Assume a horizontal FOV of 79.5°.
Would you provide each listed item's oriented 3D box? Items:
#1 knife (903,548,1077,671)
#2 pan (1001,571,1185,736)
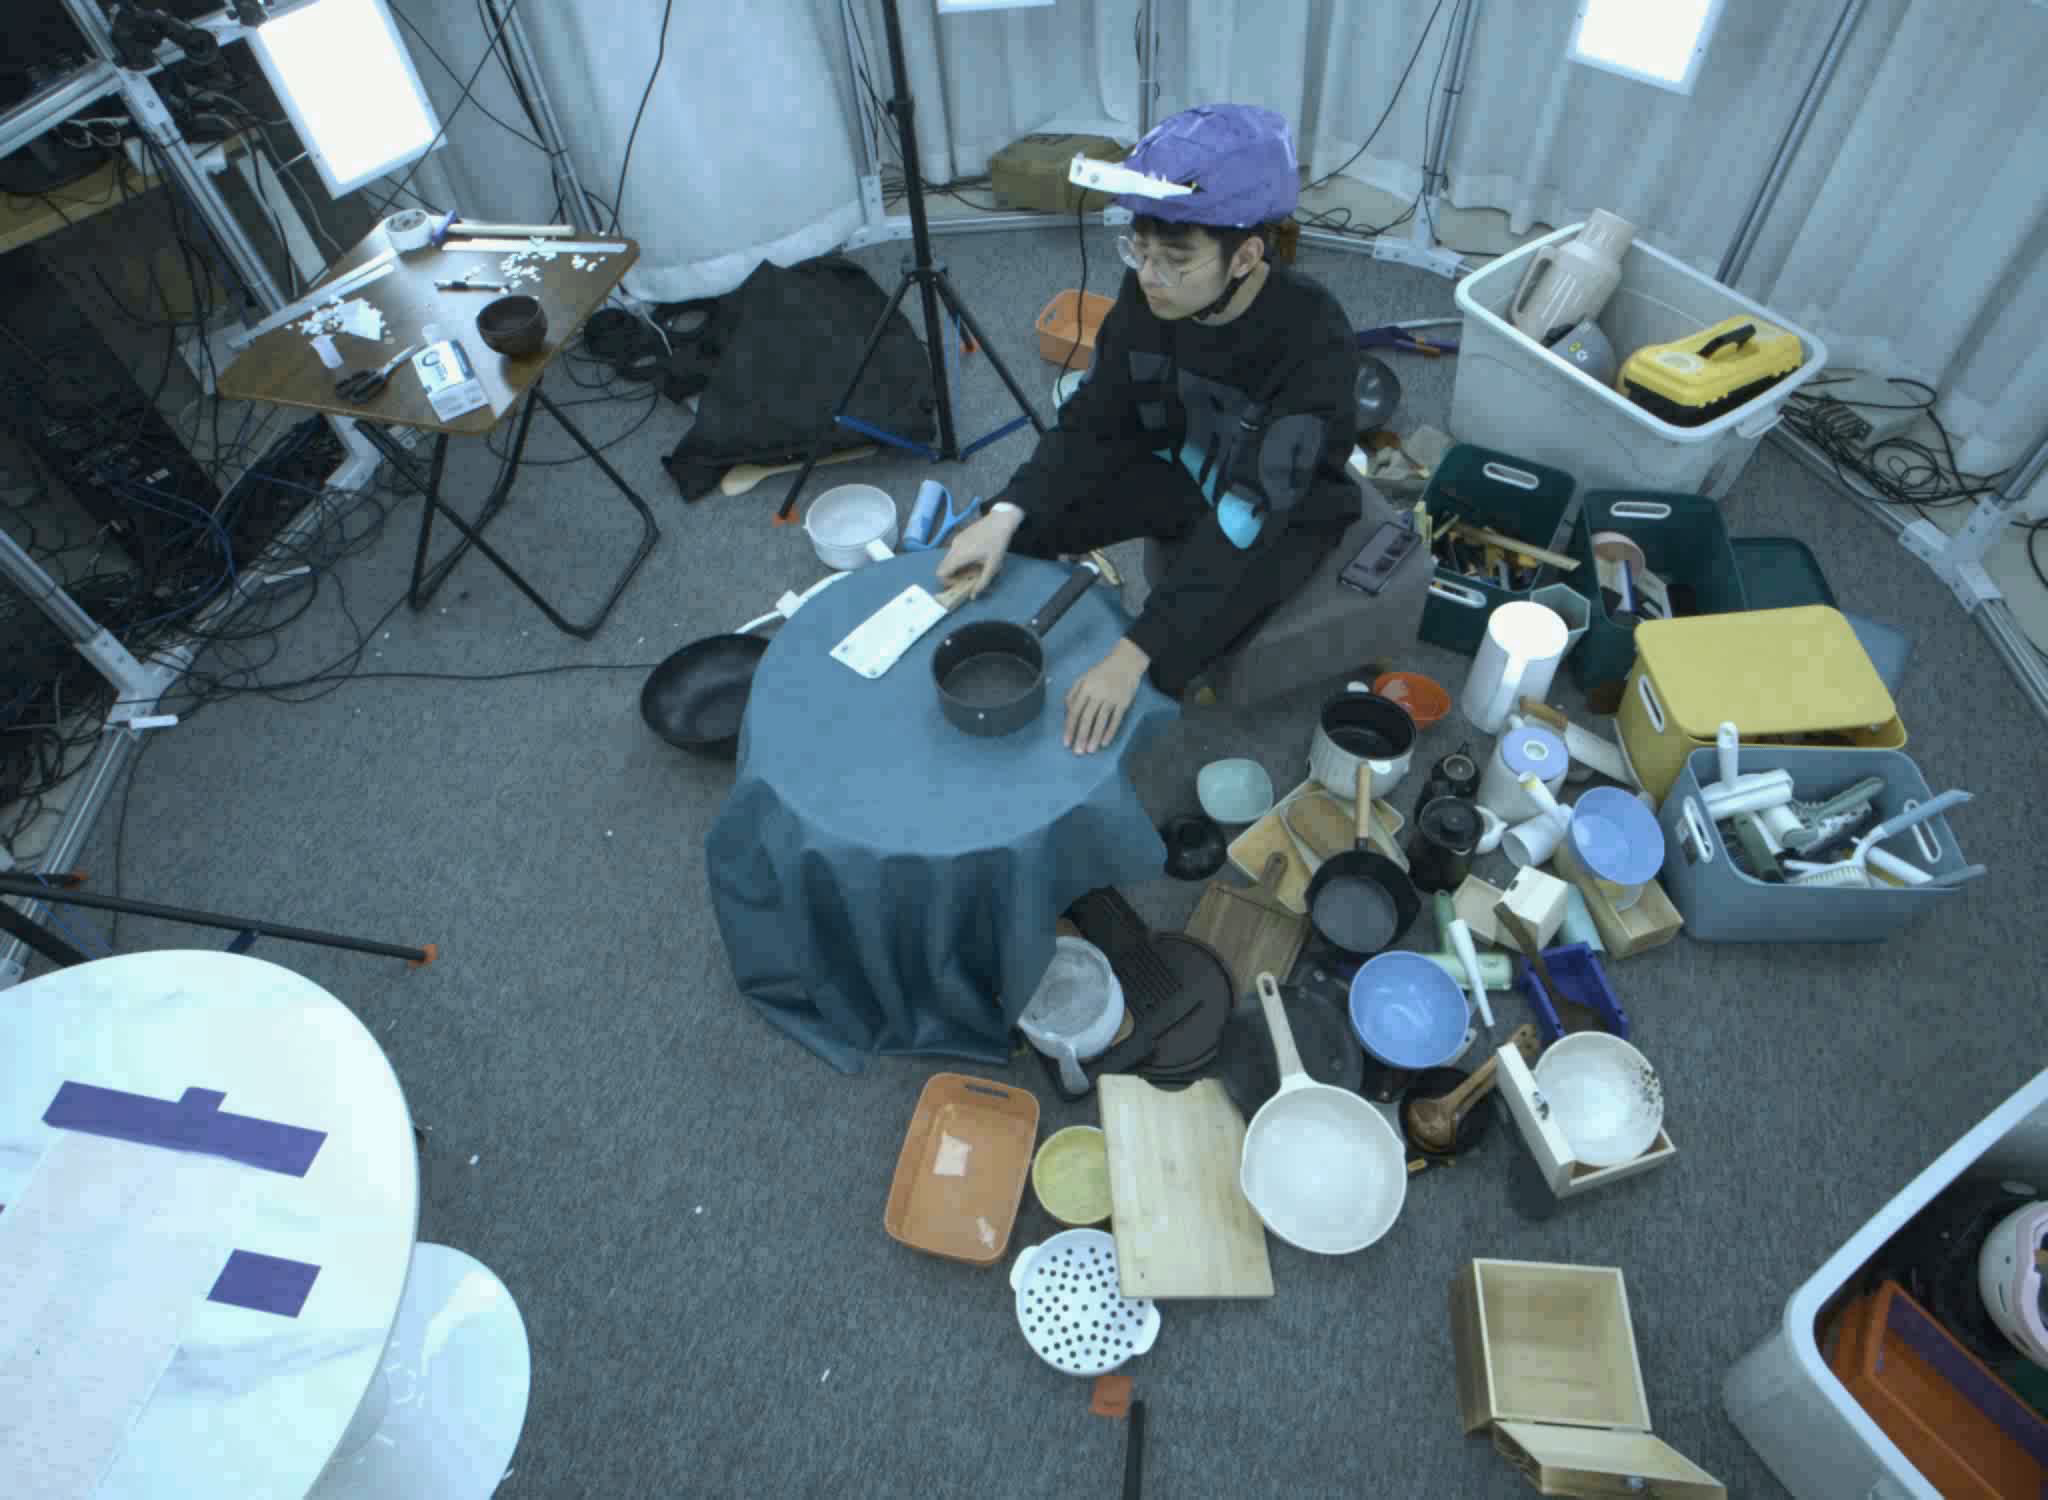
[{"bbox_3d":[-0.044,-0.227,1.938,0.317,0.022,0.112,-36,61,-18],"label":"knife"},{"bbox_3d":[0.112,-0.153,1.839,0.331,0.087,0.169,-37,63,-21],"label":"pan"}]
